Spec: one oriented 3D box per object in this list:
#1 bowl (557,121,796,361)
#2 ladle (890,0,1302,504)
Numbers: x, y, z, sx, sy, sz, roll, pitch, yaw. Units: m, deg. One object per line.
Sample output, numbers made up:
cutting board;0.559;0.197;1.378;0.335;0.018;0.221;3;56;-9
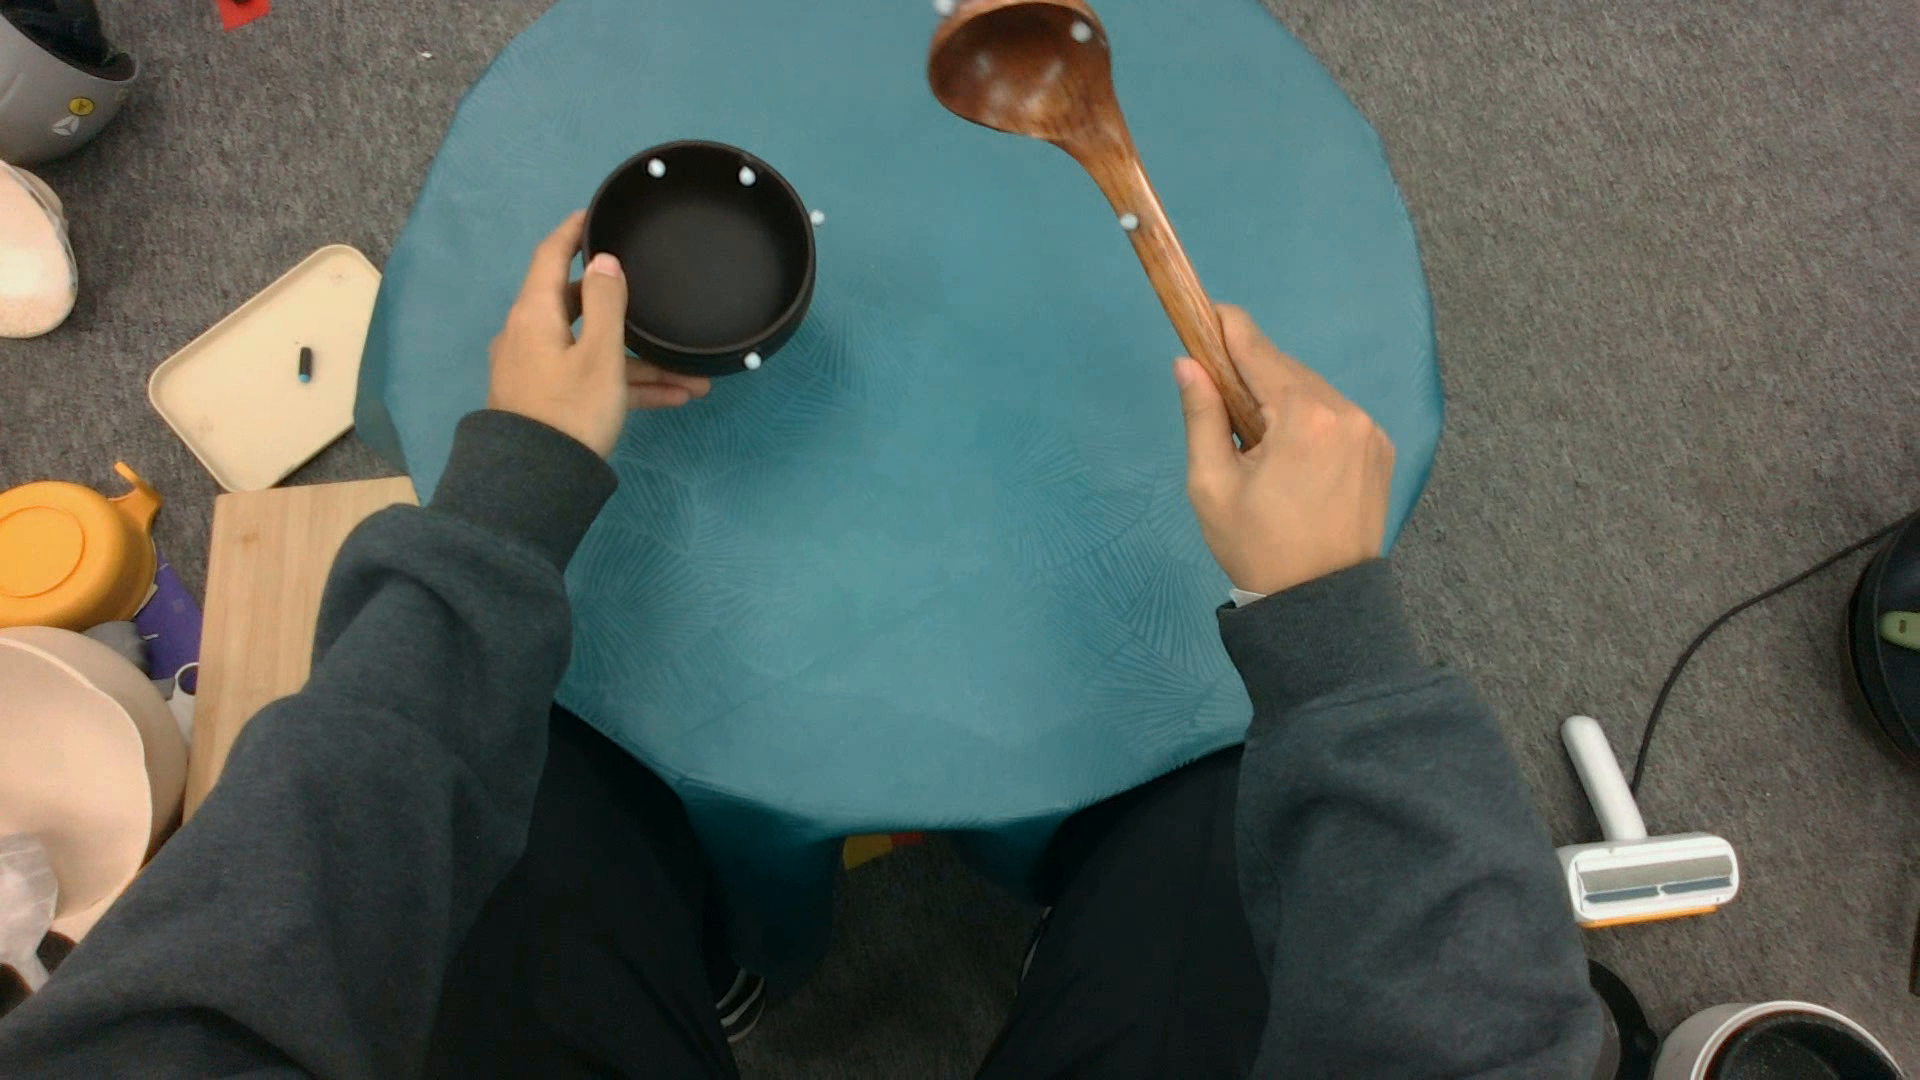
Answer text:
bowl;-0.145;-0.147;0.709;0.118;0.069;0.118;2;77;-10
ladle;0.064;-0.124;0.600;0.077;0.081;0.274;-33;95;-39
